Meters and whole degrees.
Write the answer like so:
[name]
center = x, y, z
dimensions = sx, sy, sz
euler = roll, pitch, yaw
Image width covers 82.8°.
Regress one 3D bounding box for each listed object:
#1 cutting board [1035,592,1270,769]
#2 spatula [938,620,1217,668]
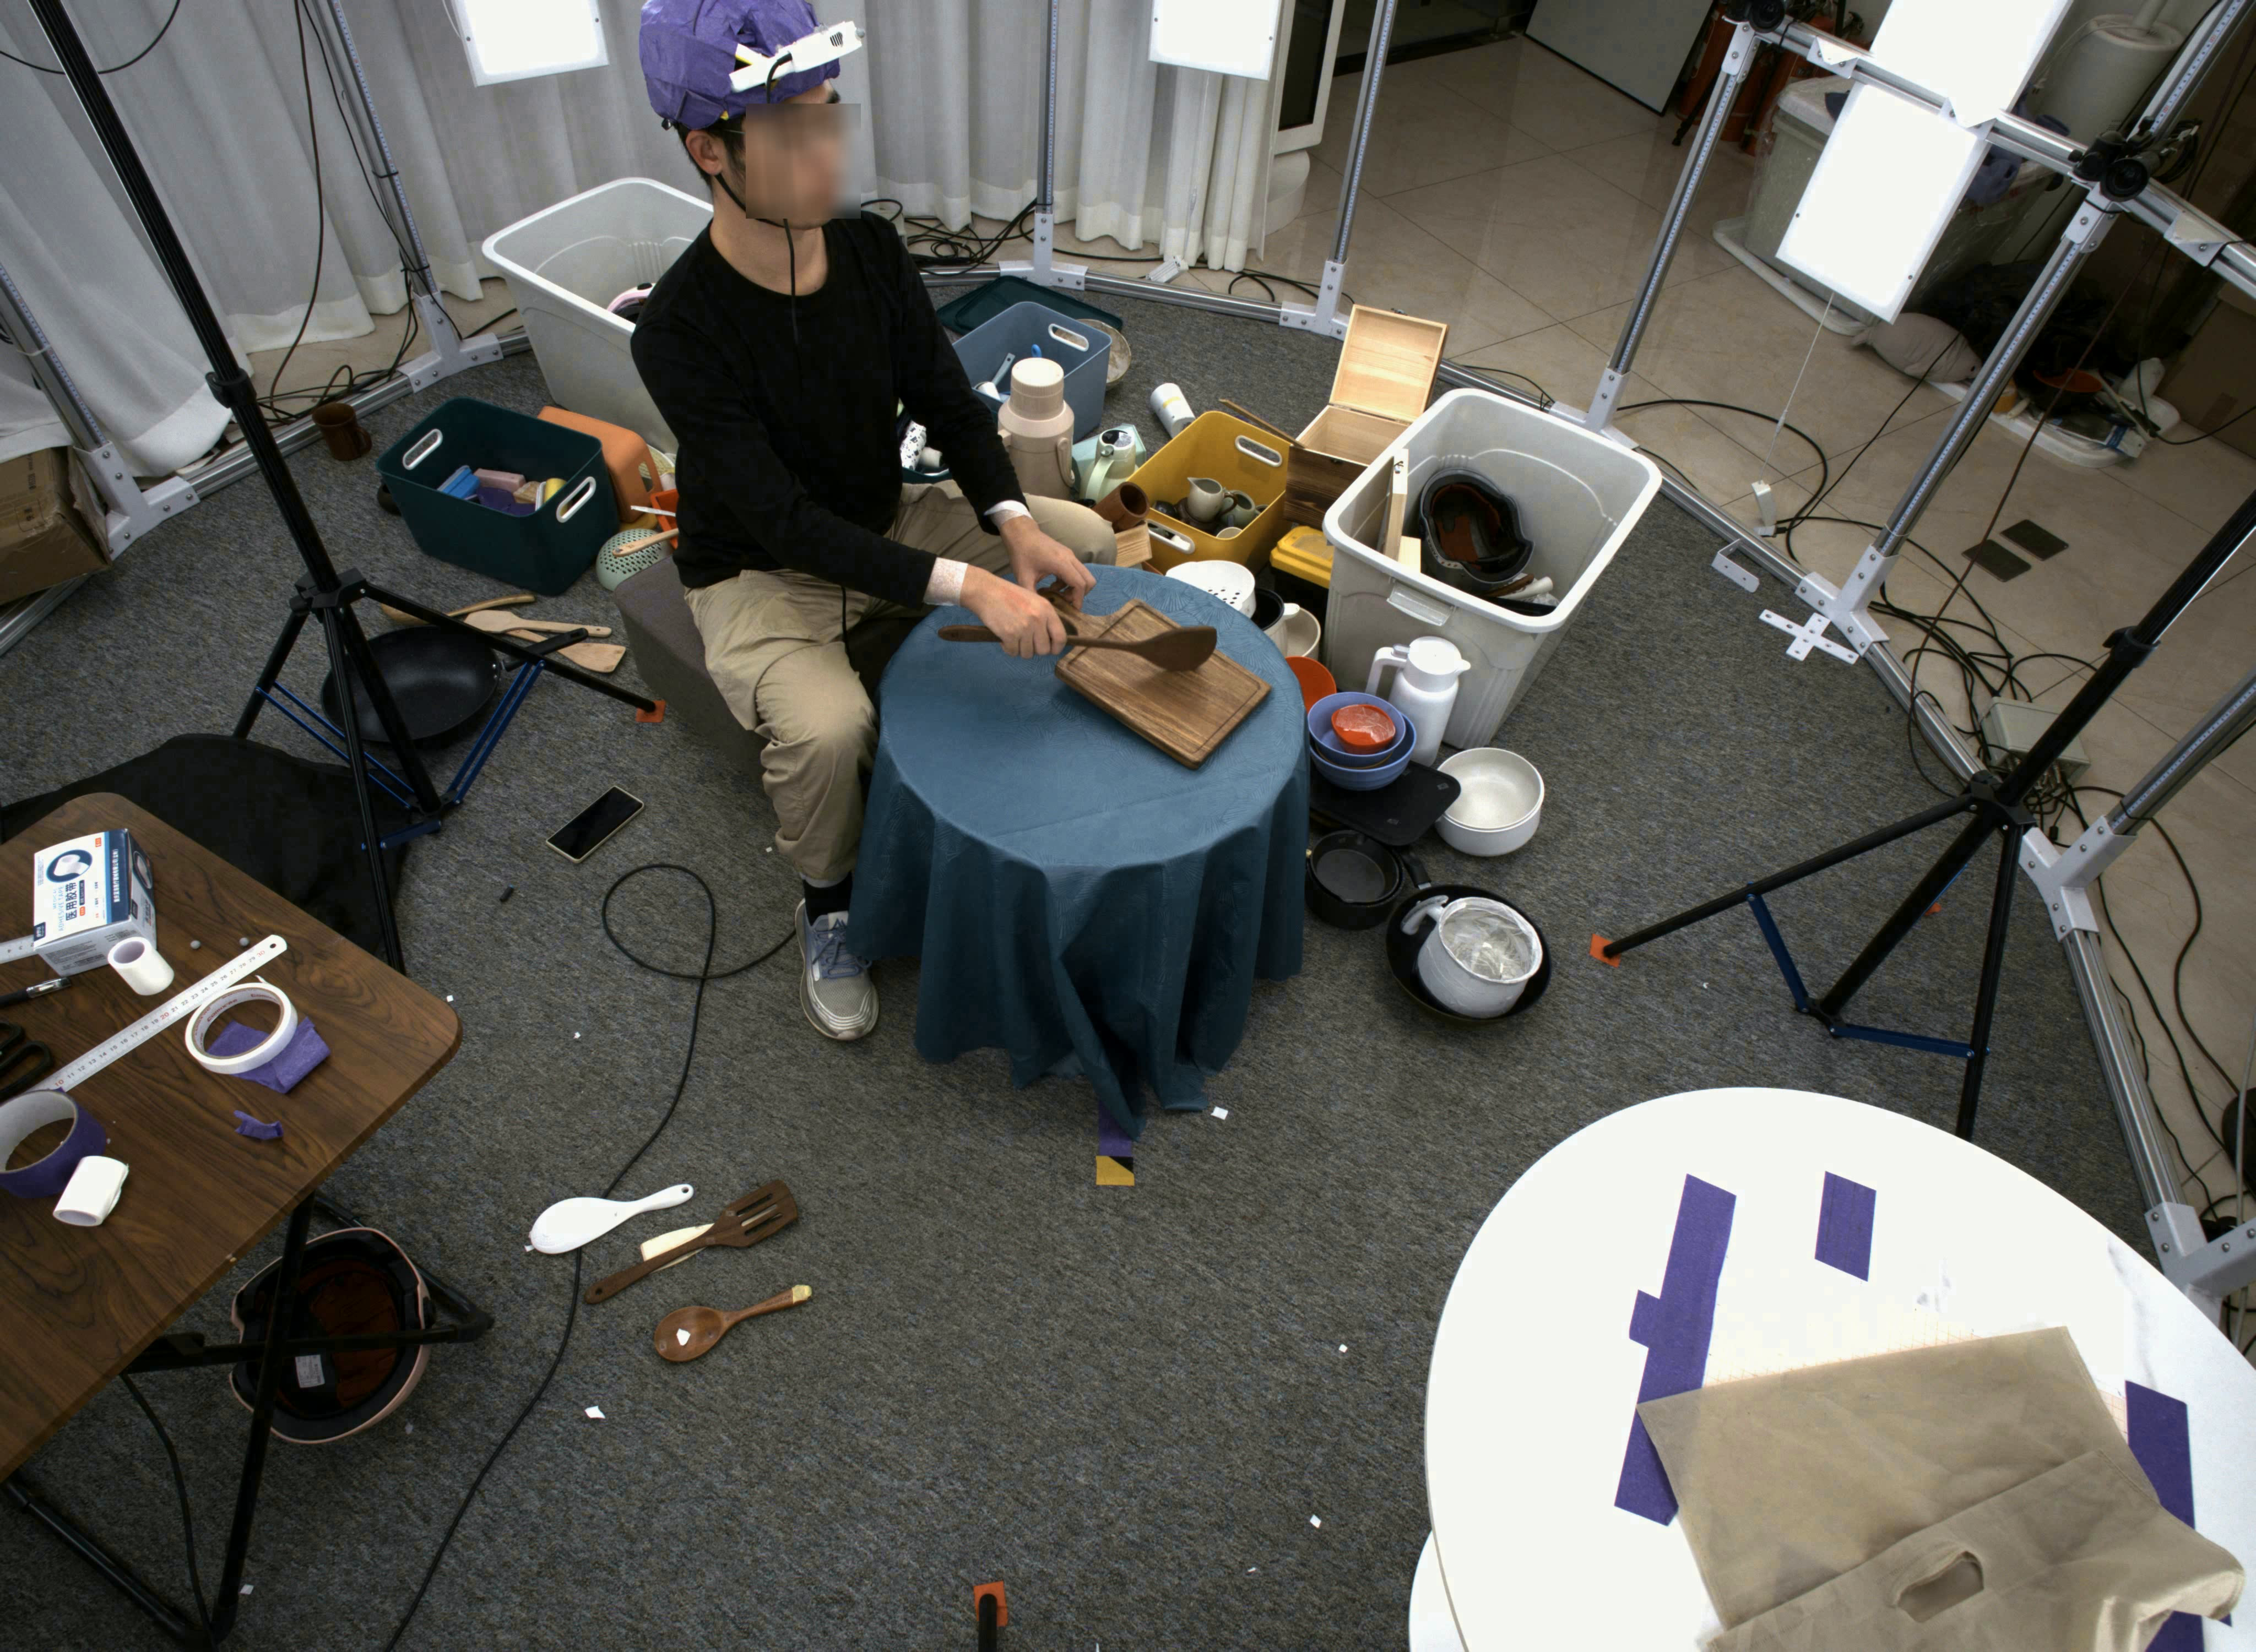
[cutting board]
center = 0.011, -0.236, 1.834
dimensions = 0.355, 0.023, 0.204
euler = 35, 55, 15
[spatula]
center = -0.066, -0.258, 1.760
dimensions = 0.385, 0.094, 0.016
euler = 2, 57, -13
